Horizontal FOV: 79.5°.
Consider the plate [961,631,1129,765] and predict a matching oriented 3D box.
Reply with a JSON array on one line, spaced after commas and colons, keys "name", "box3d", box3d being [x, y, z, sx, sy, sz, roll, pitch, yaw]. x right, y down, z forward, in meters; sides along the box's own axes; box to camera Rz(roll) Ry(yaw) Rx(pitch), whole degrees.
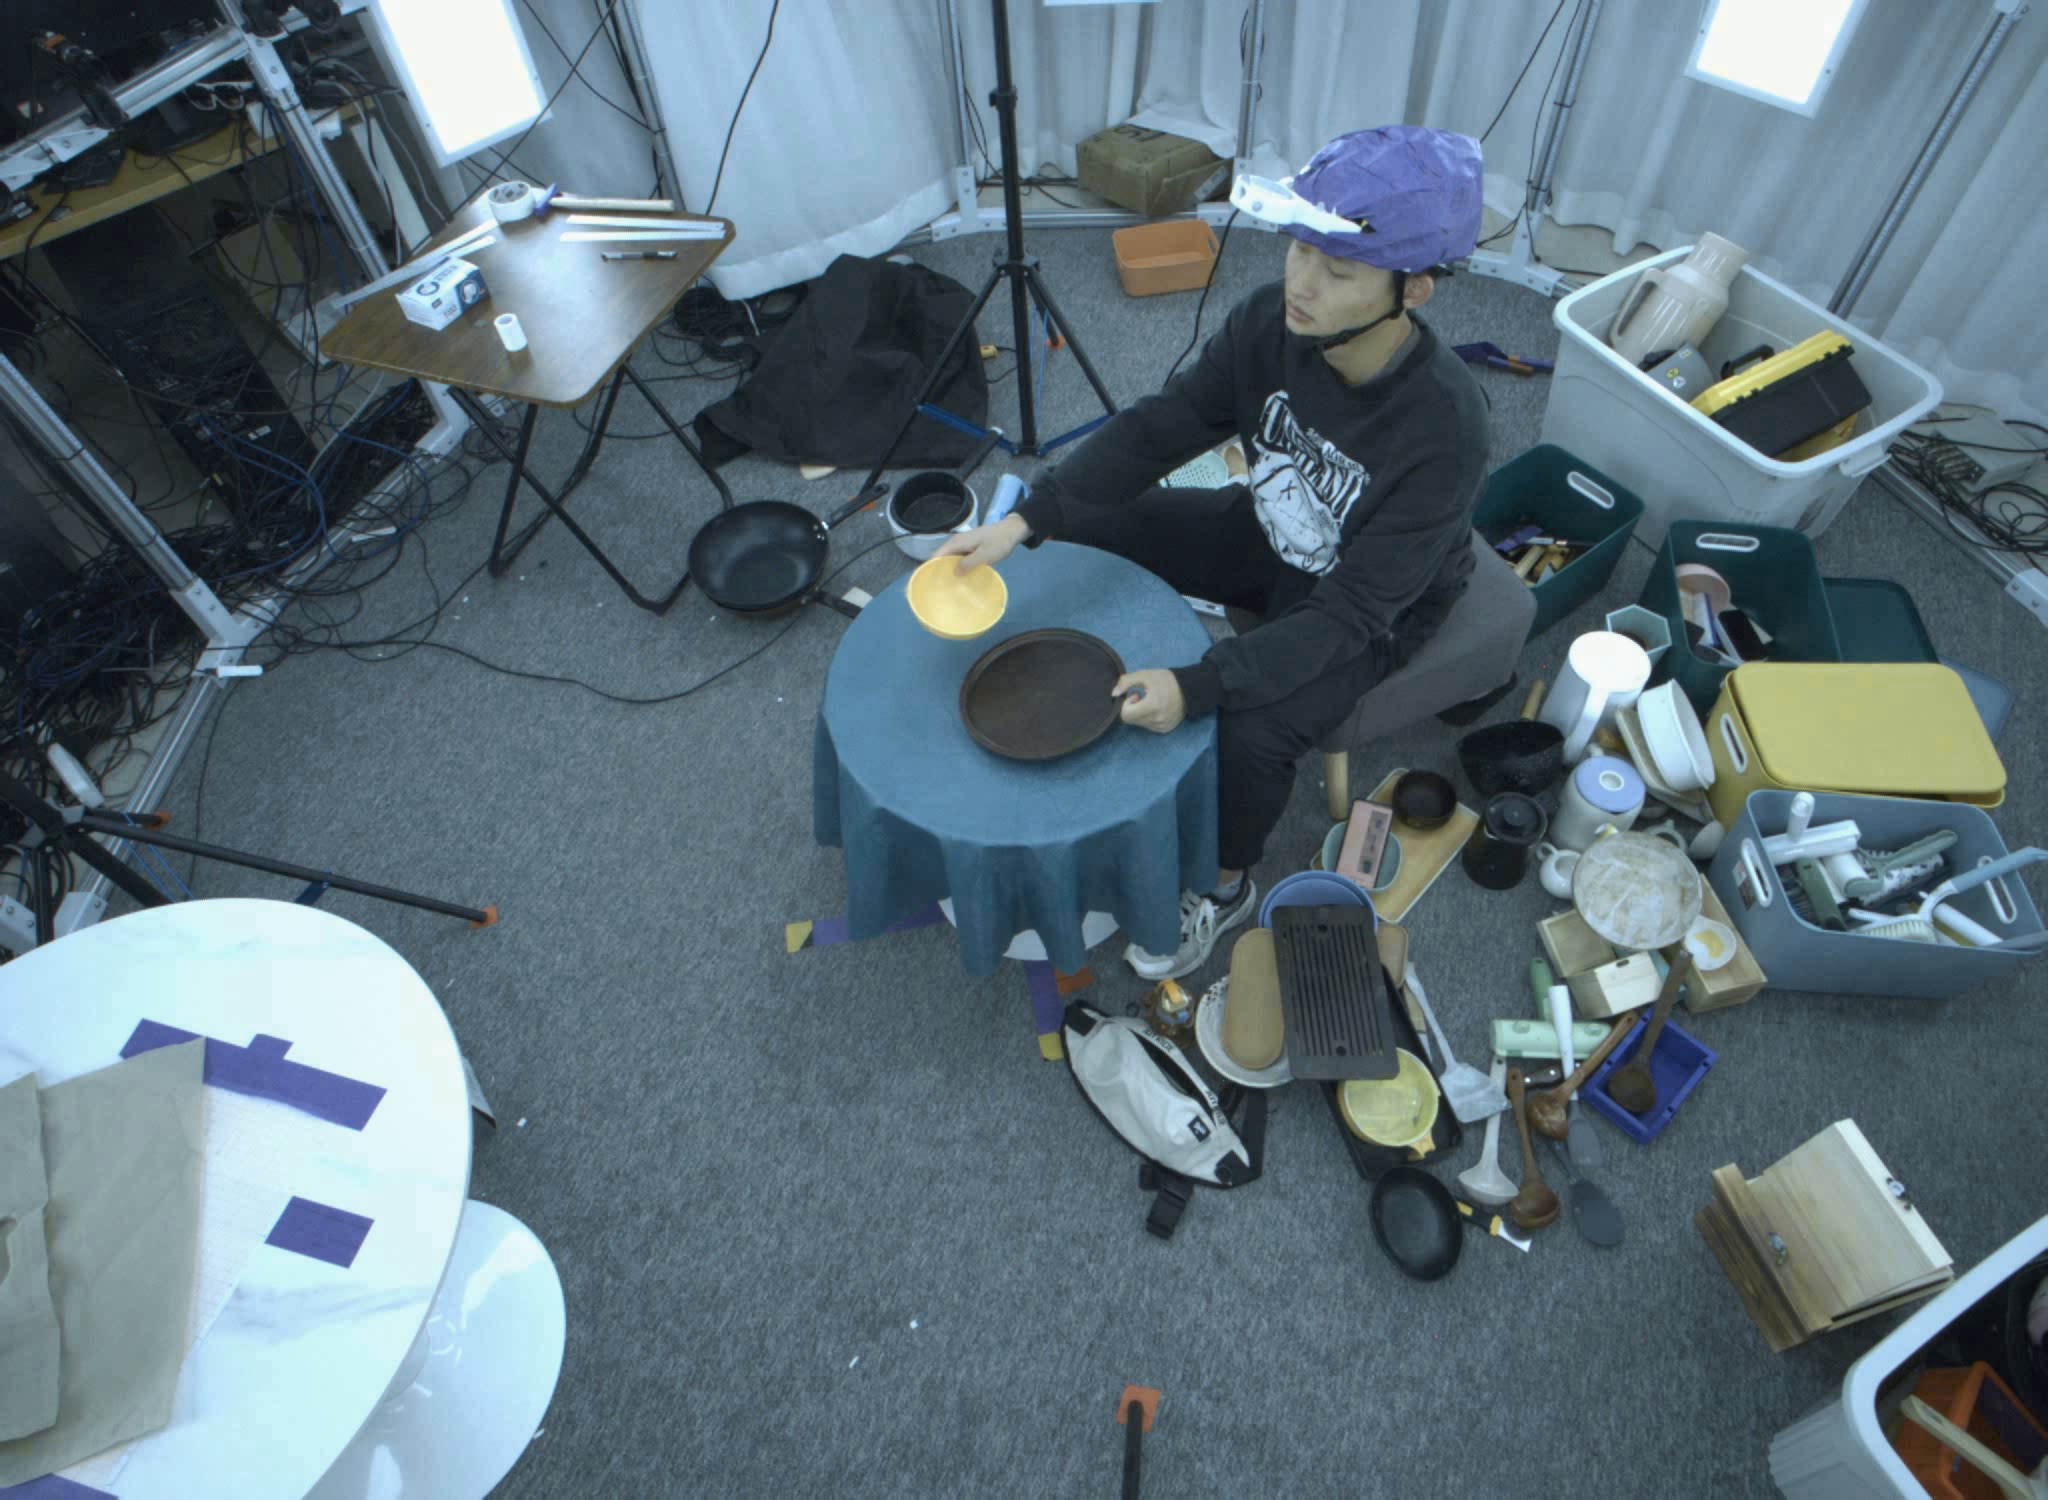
[{"name": "plate", "box3d": [0.031, -0.078, 1.822, 0.253, 0.029, 0.252, -5, 51, 8]}]

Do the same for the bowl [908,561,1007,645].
[{"name": "bowl", "box3d": [-0.101, -0.205, 1.804, 0.146, 0.060, 0.144, 6, 58, -8]}]
